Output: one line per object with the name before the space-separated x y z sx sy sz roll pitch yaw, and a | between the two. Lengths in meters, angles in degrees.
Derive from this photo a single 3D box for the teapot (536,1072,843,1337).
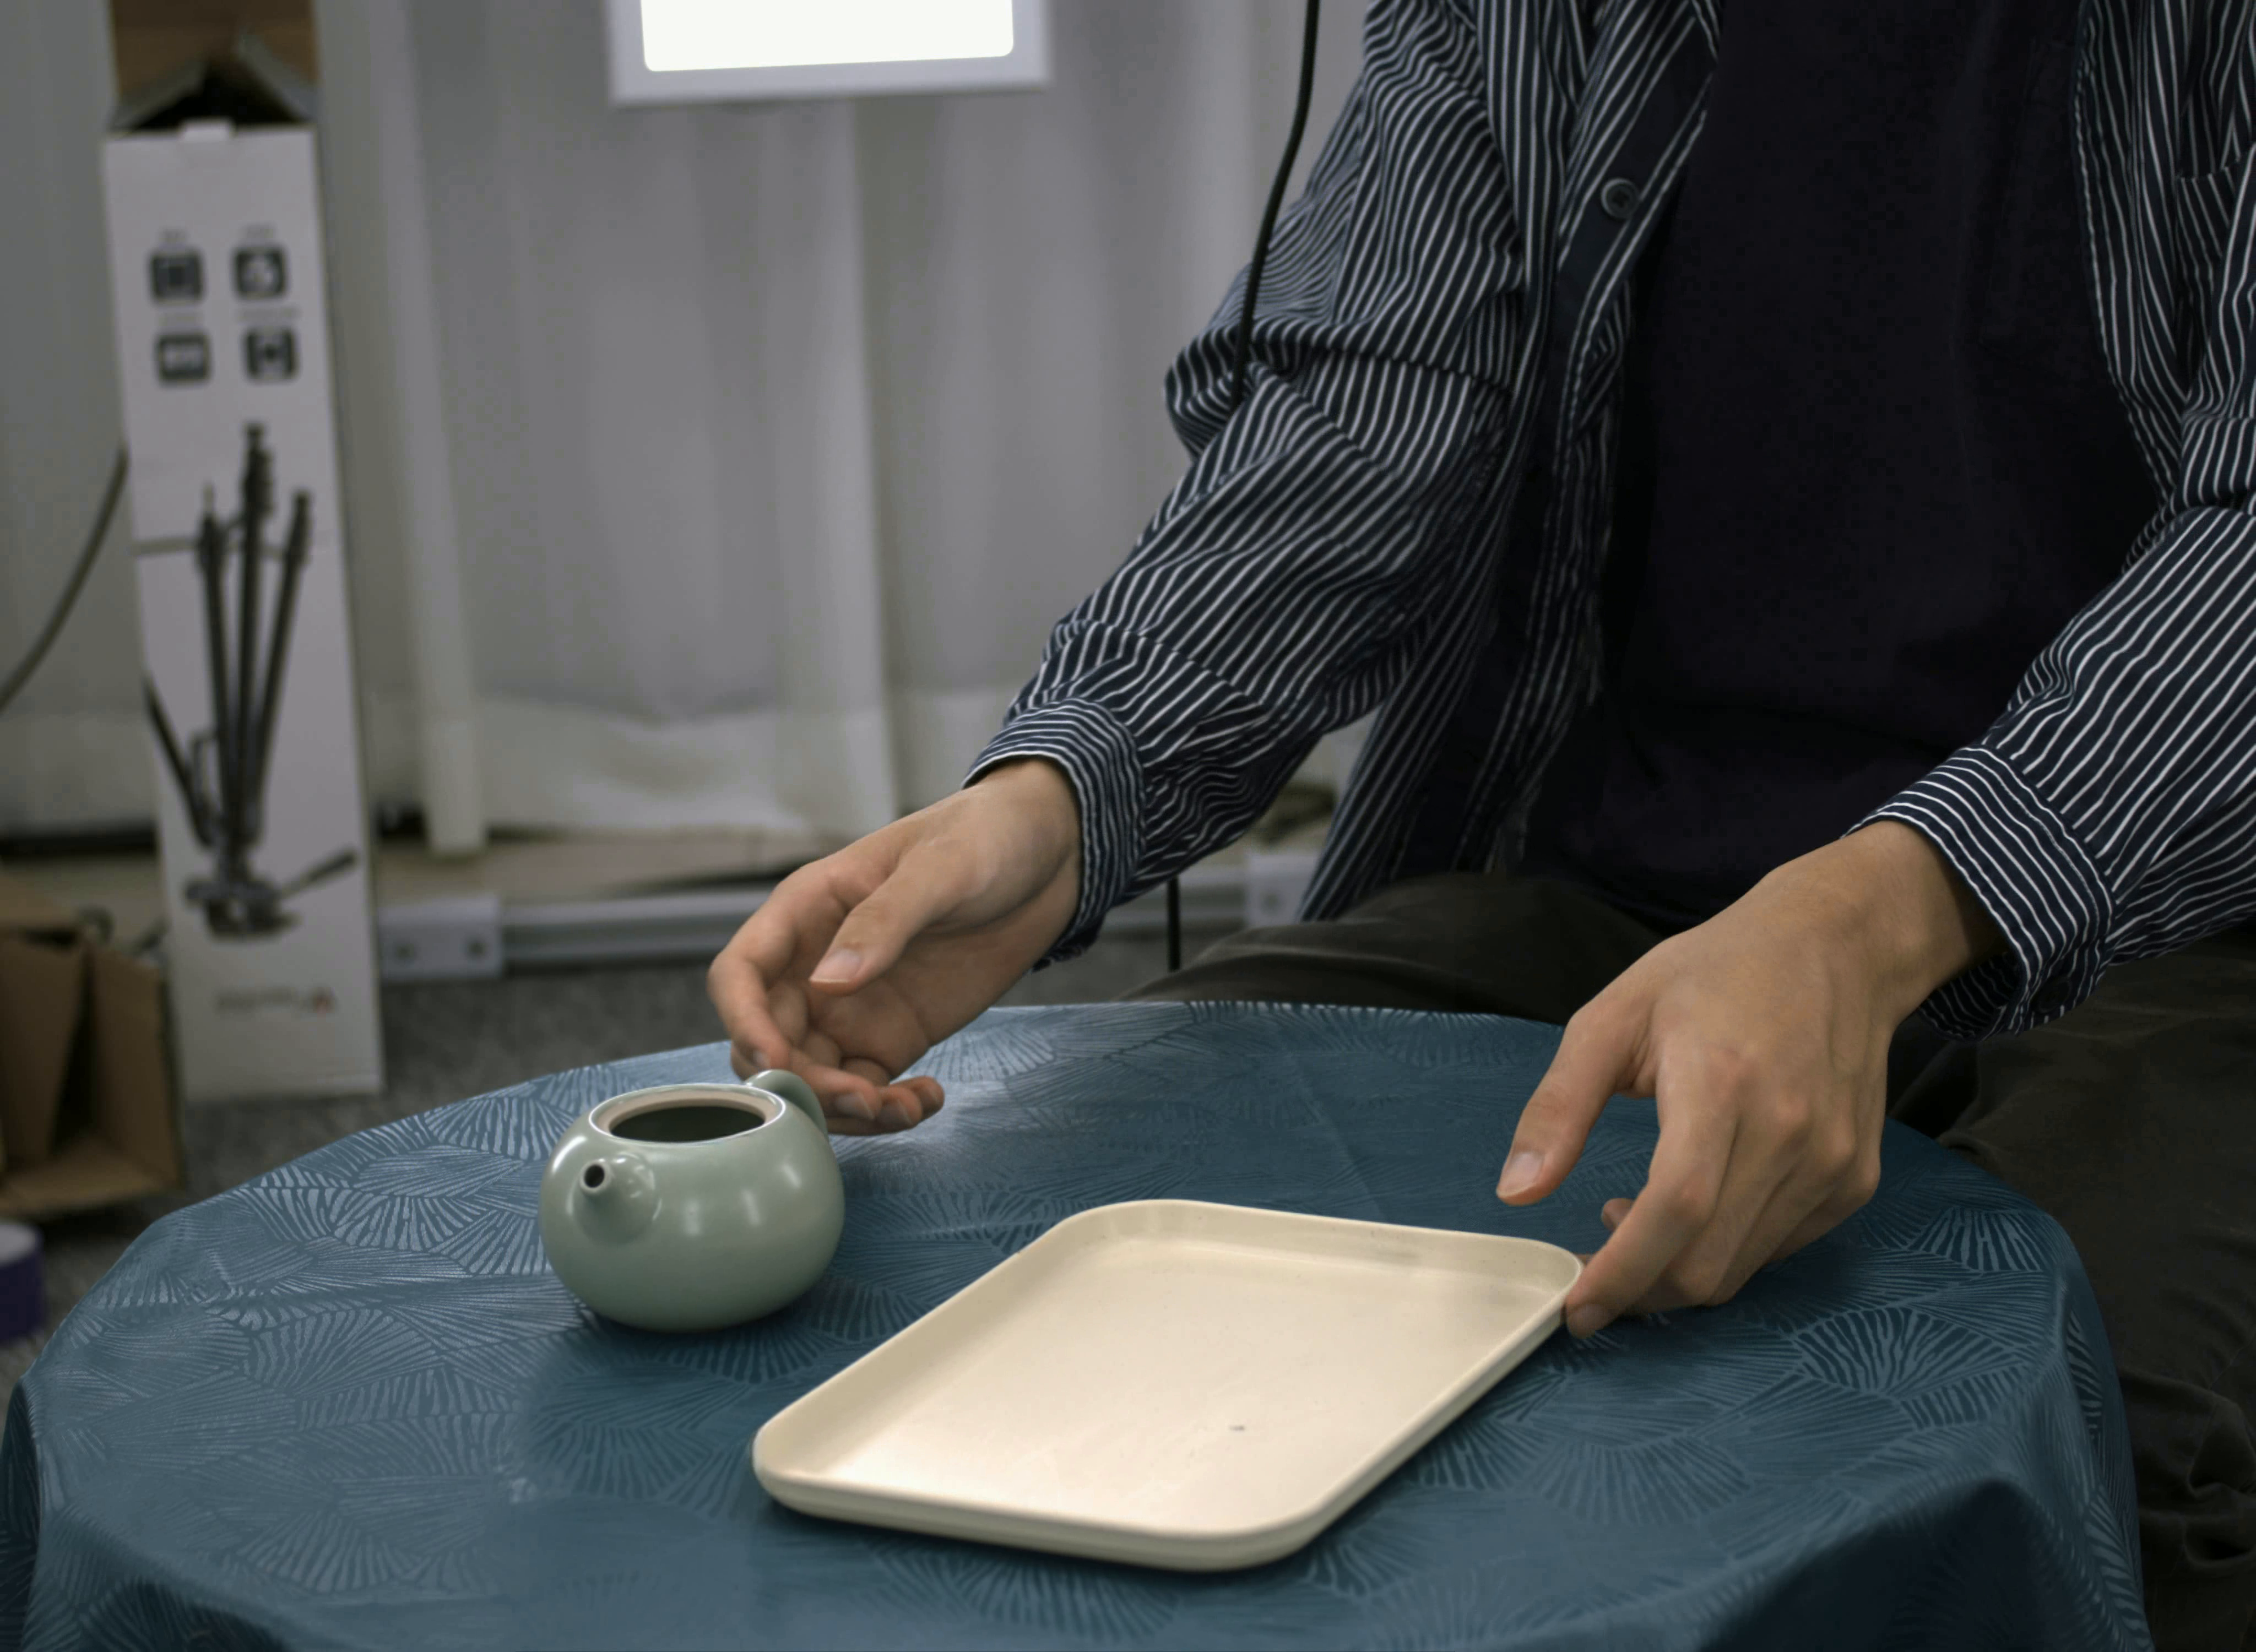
teapot | -0.125 0.113 1.637 0.092 0.061 0.128 4 15 32

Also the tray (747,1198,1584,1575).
tray | 0.015 0.155 1.529 0.171 0.017 0.240 5 17 26
